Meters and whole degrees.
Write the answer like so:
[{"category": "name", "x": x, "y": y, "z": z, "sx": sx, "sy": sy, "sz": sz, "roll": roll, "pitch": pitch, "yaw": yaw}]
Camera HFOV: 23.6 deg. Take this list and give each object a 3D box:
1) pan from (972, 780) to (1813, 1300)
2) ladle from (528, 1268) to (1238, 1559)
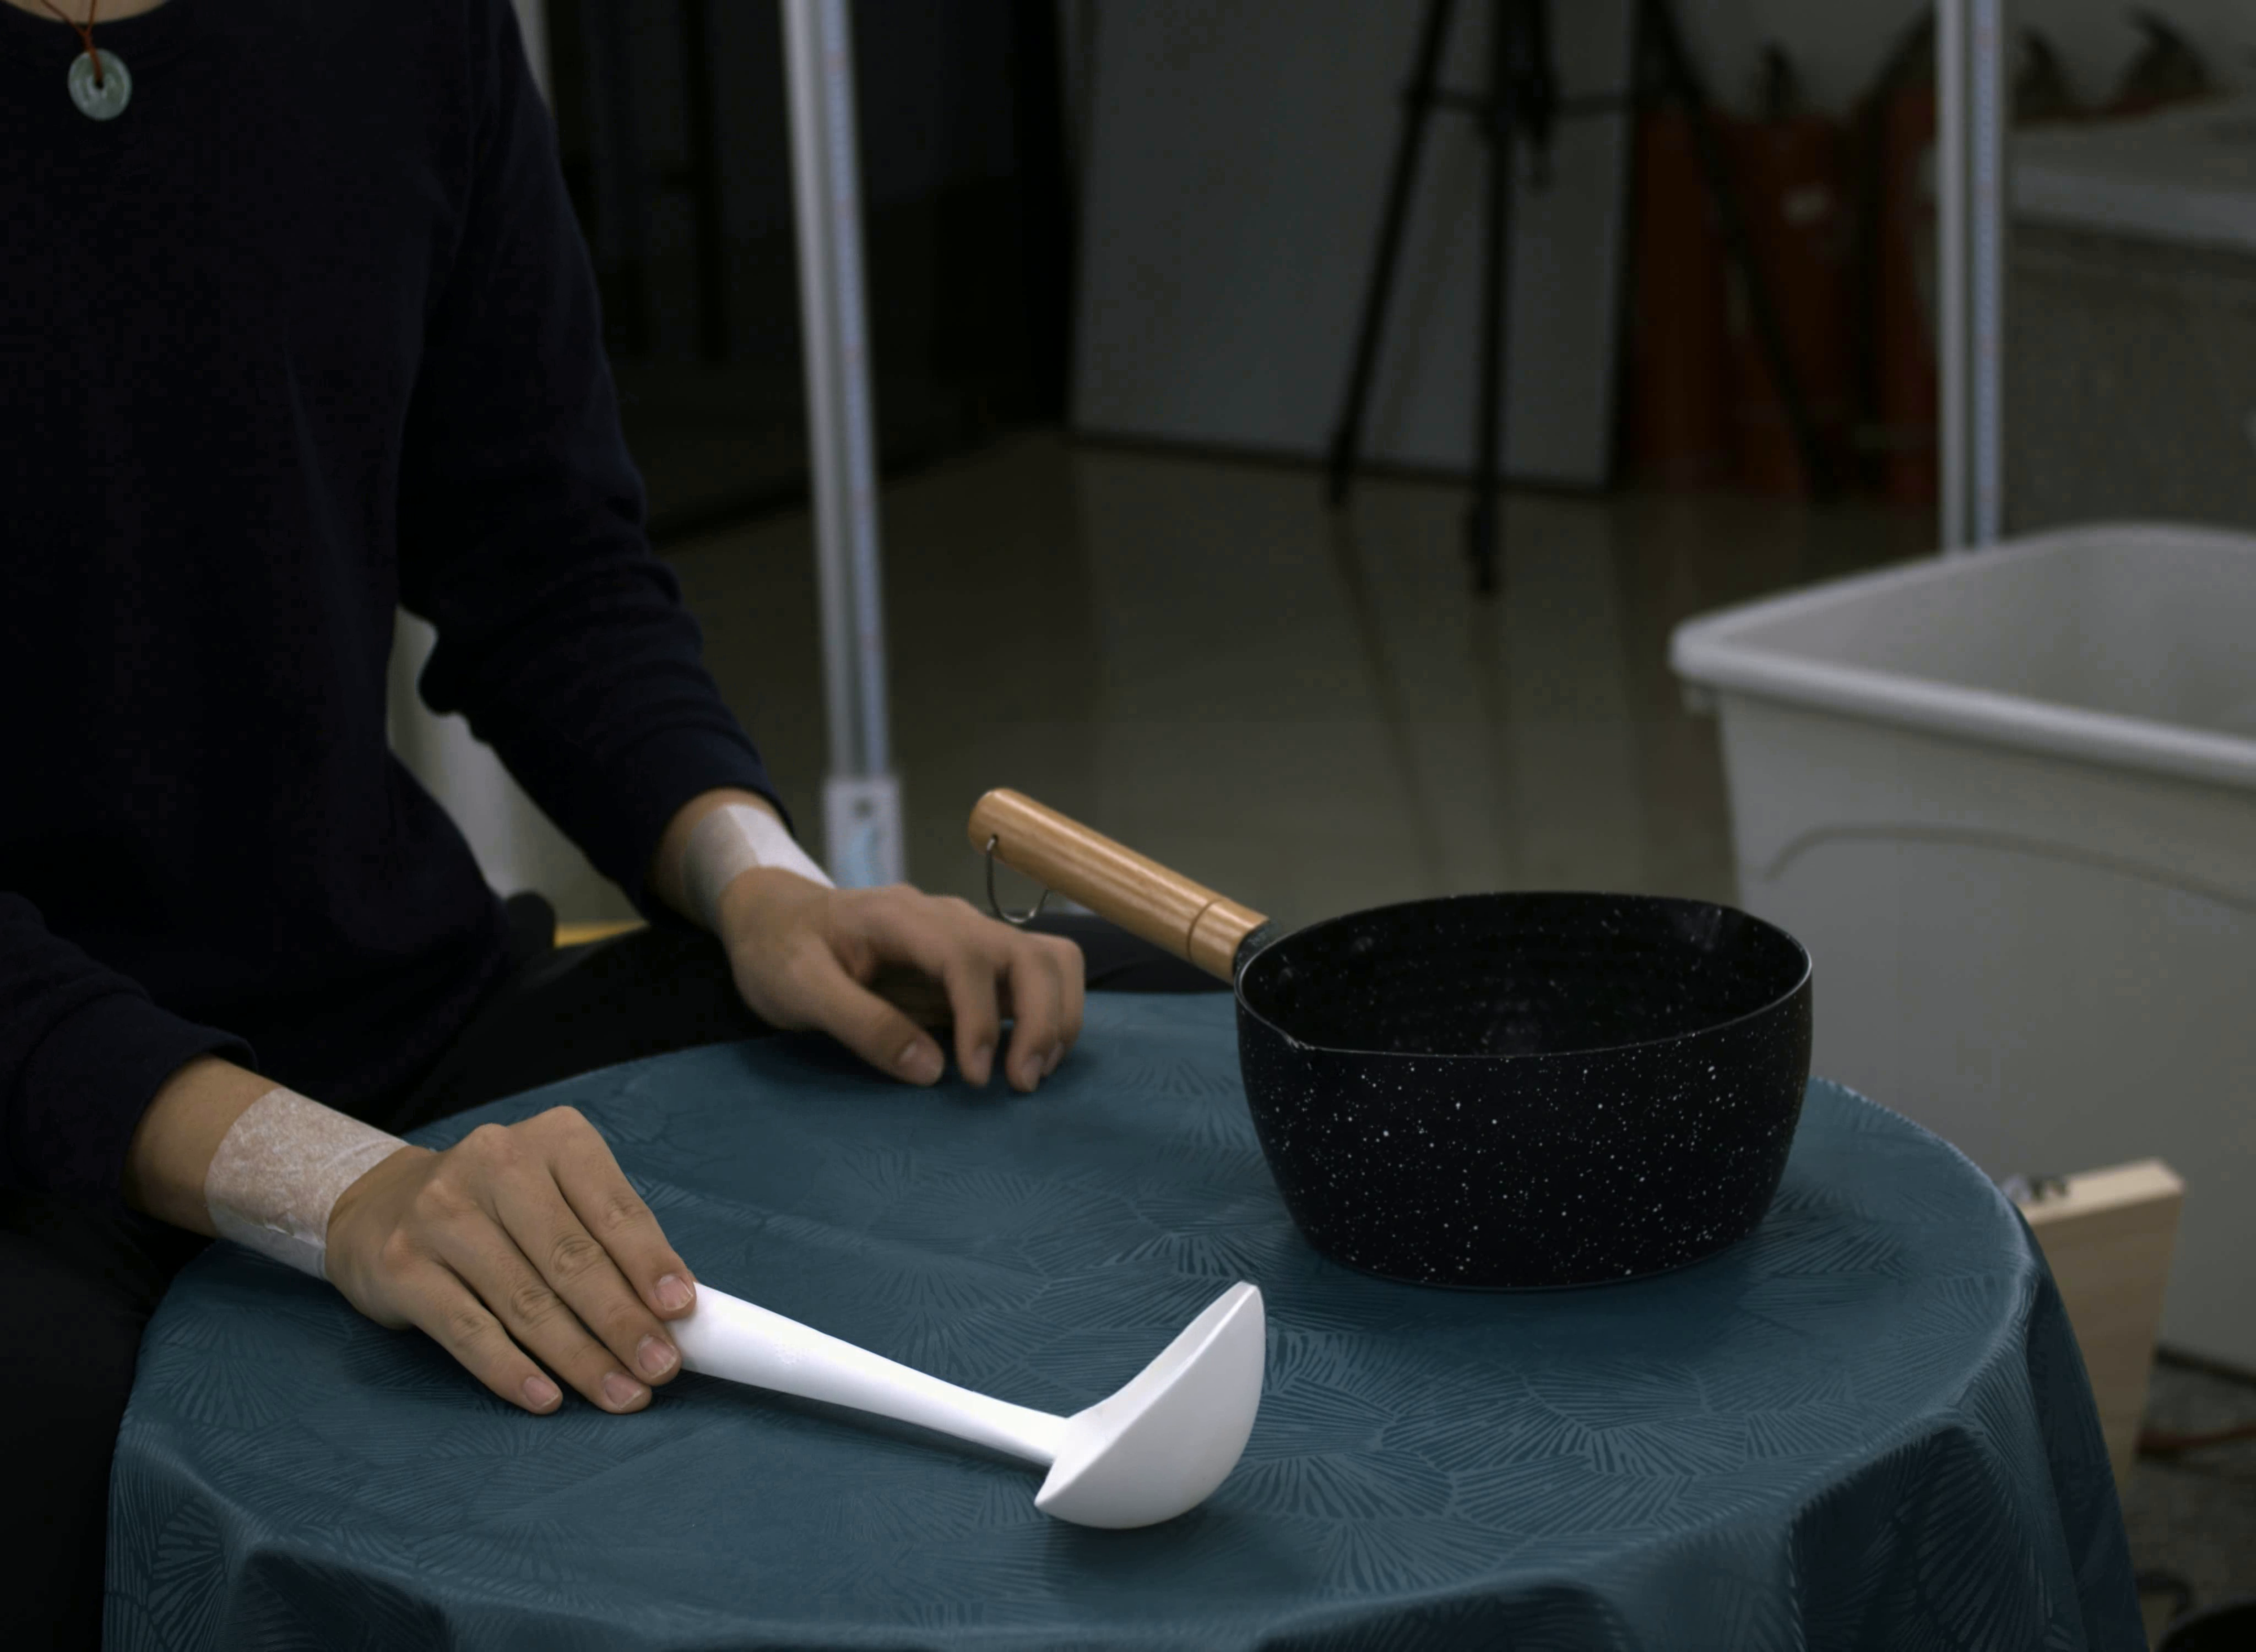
[{"category": "pan", "x": 0.070, "y": 0.063, "z": 1.760, "sx": 0.203, "sy": 0.109, "sz": 0.346, "roll": -18, "pitch": 21, "yaw": -42}, {"category": "ladle", "x": -0.079, "y": 0.154, "z": 1.550, "sx": 0.296, "sy": 0.069, "sz": 0.090, "roll": 9, "pitch": 51, "yaw": 45}]
